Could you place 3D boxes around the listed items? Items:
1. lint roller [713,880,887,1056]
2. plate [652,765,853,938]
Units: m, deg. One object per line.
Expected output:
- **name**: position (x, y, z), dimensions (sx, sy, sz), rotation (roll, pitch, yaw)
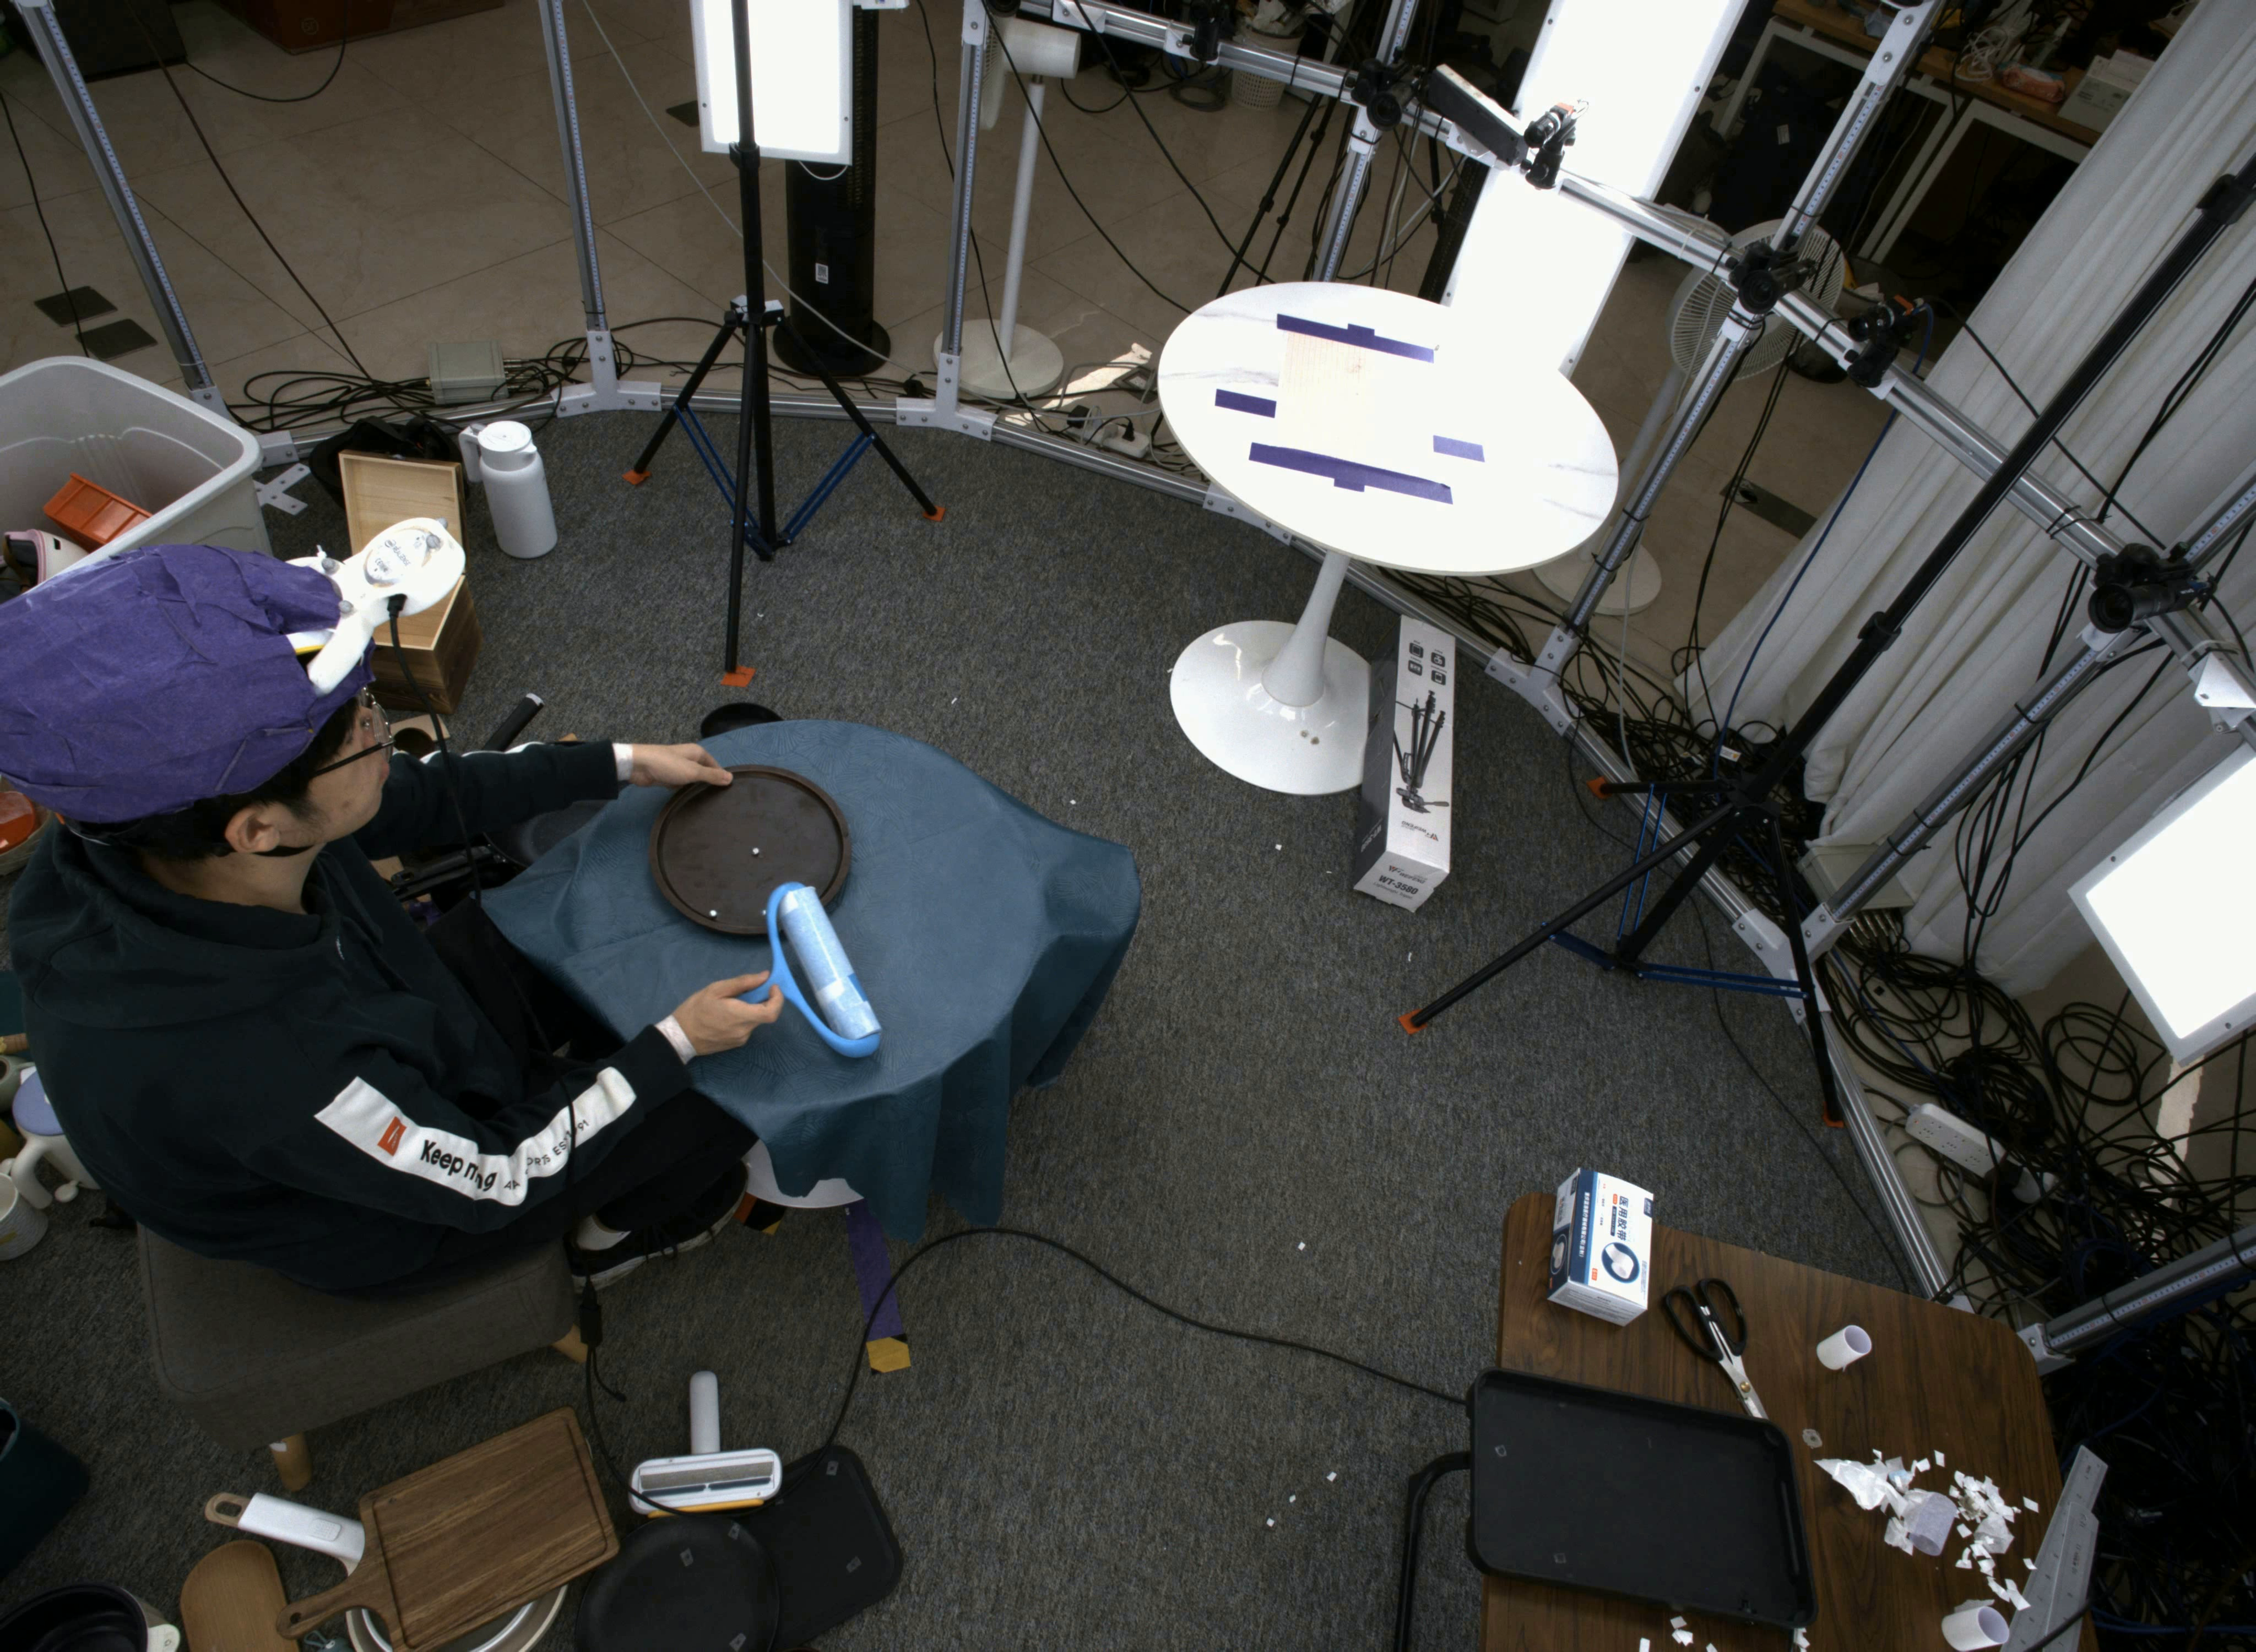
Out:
- **lint roller**: position (-0.403, 0.191, 1.524), dimensions (0.180, 0.068, 0.229), rotation (-28, 85, -24)
- **plate**: position (-0.482, 0.030, 1.663), dimensions (0.255, 0.029, 0.251), rotation (9, 57, -13)
